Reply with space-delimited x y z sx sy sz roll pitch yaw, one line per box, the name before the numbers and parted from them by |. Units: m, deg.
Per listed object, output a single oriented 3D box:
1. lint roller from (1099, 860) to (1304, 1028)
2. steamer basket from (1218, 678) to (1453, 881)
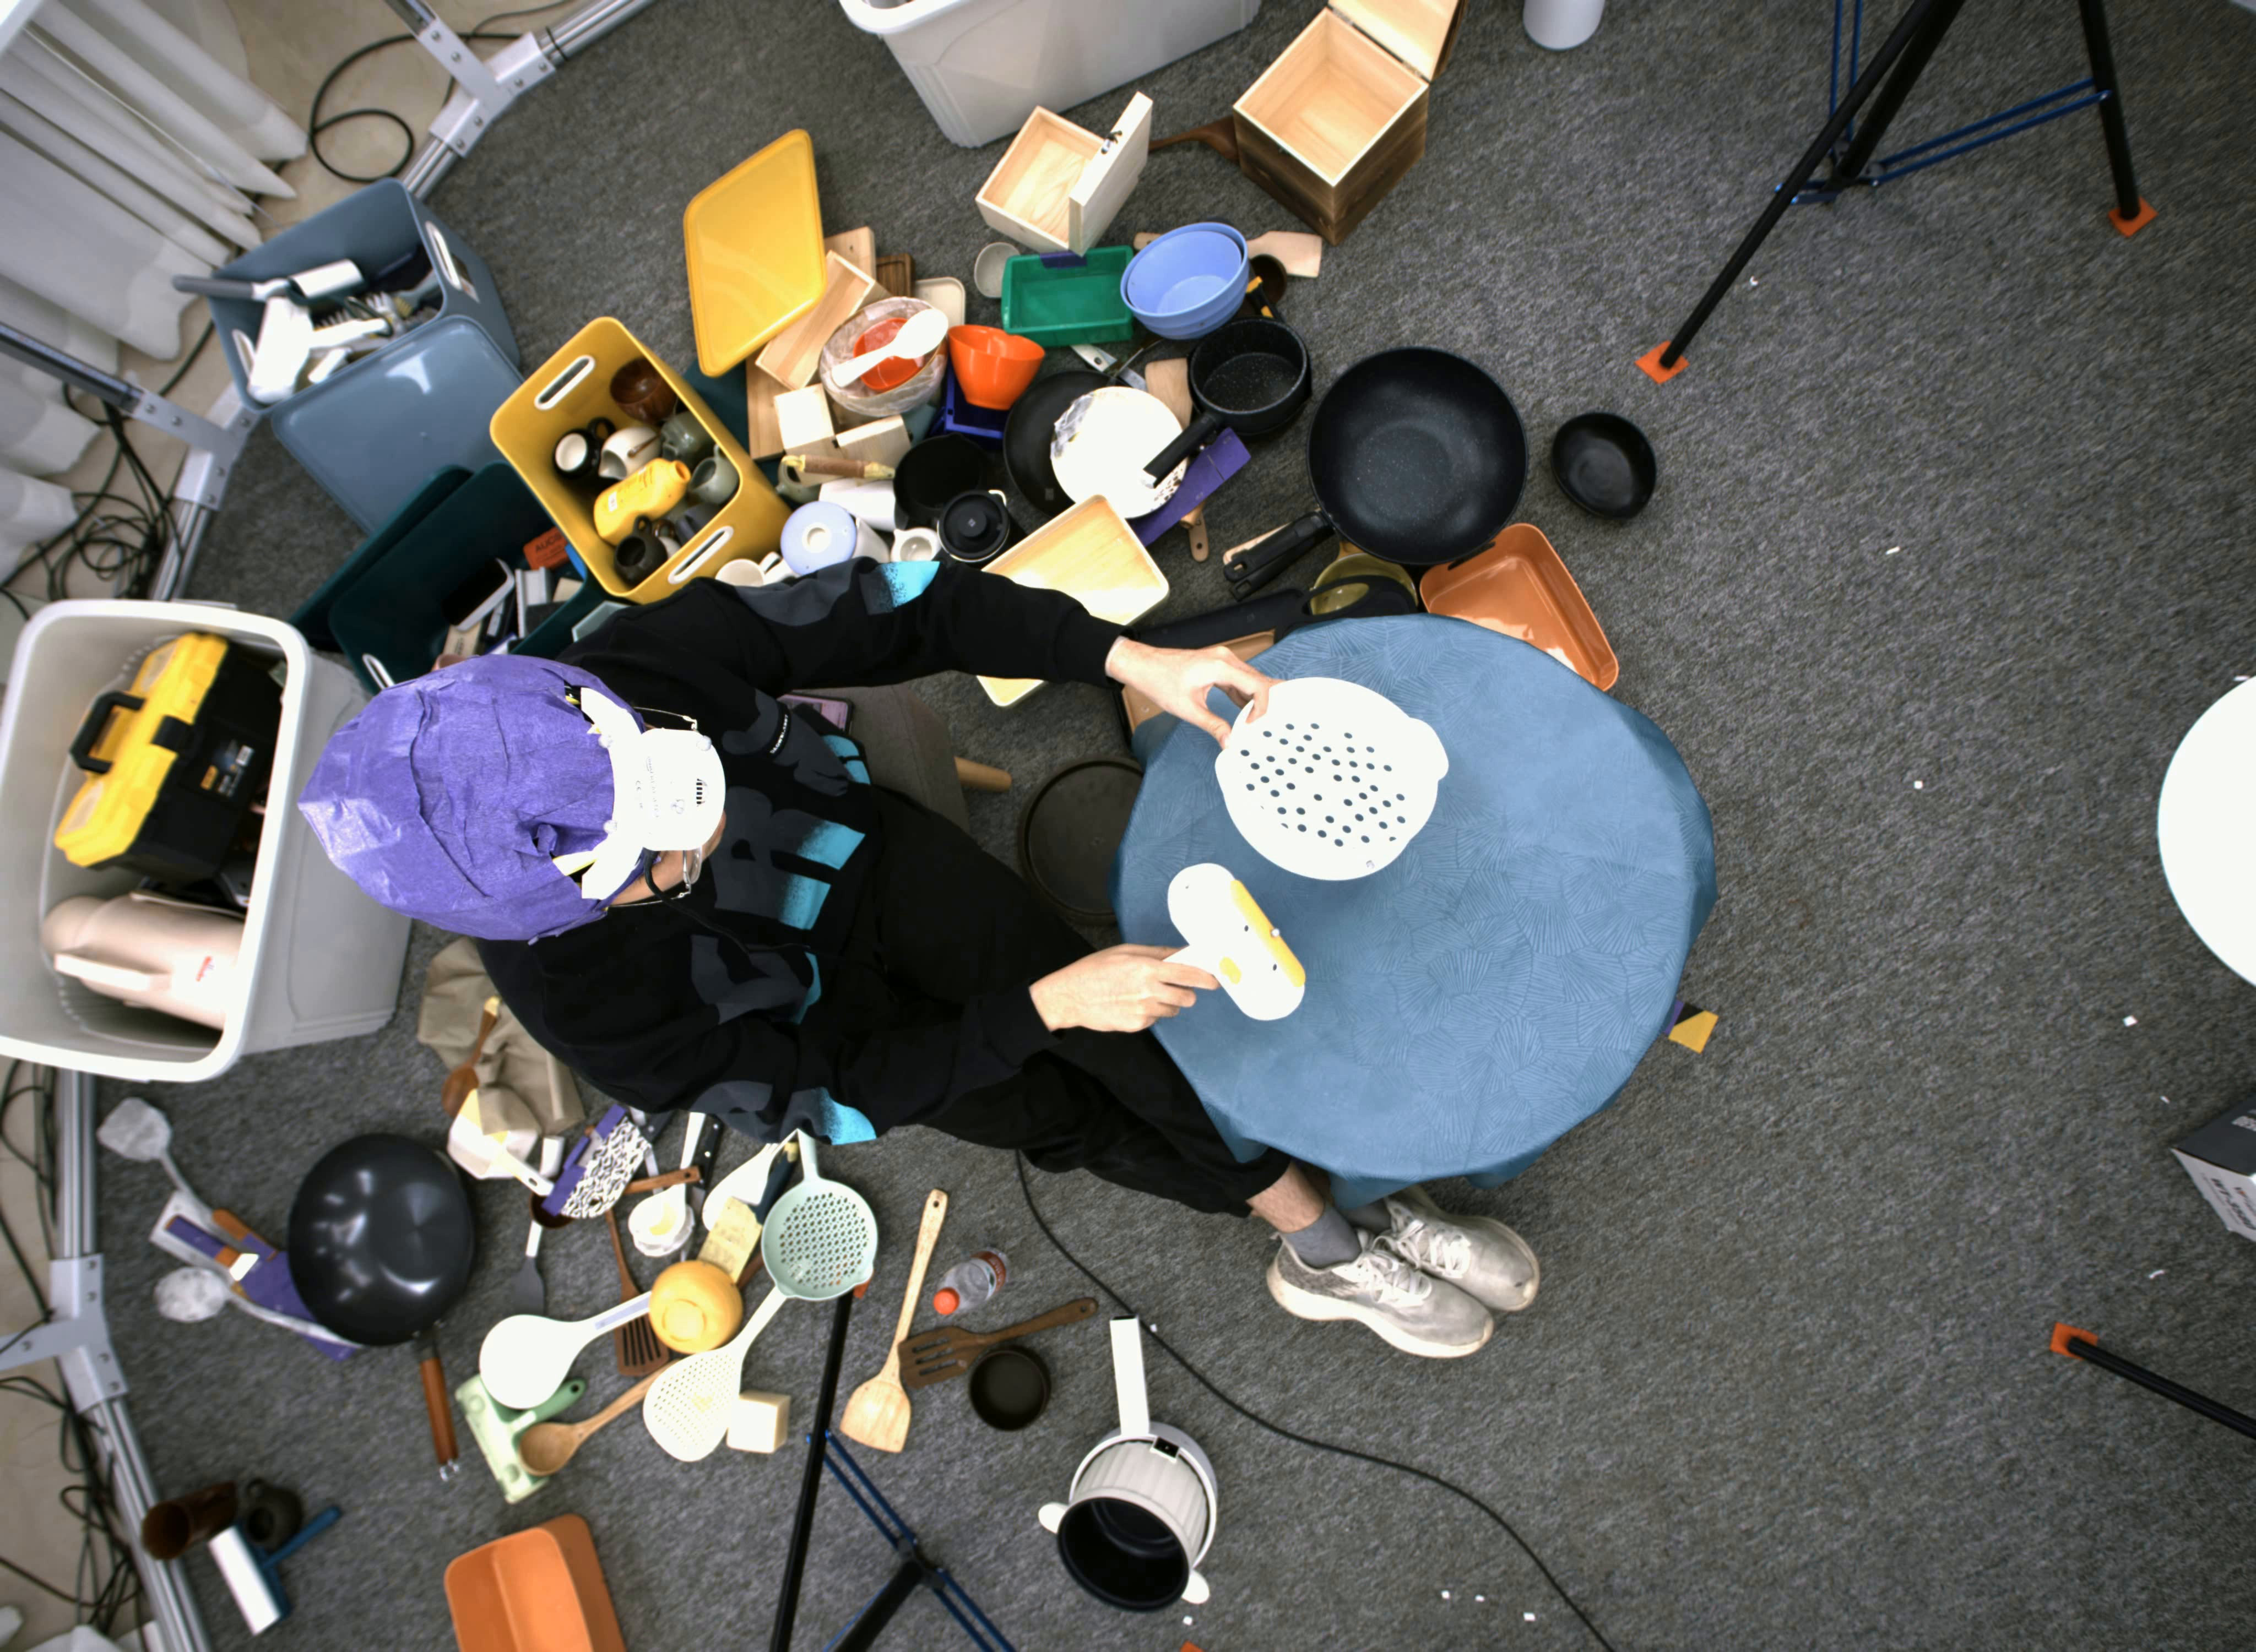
lint roller | 0.055 0.138 1.361 0.195 0.072 0.195 -26 126 25
steamer basket | 0.194 -0.045 1.315 0.229 0.071 0.198 -11 61 -13
